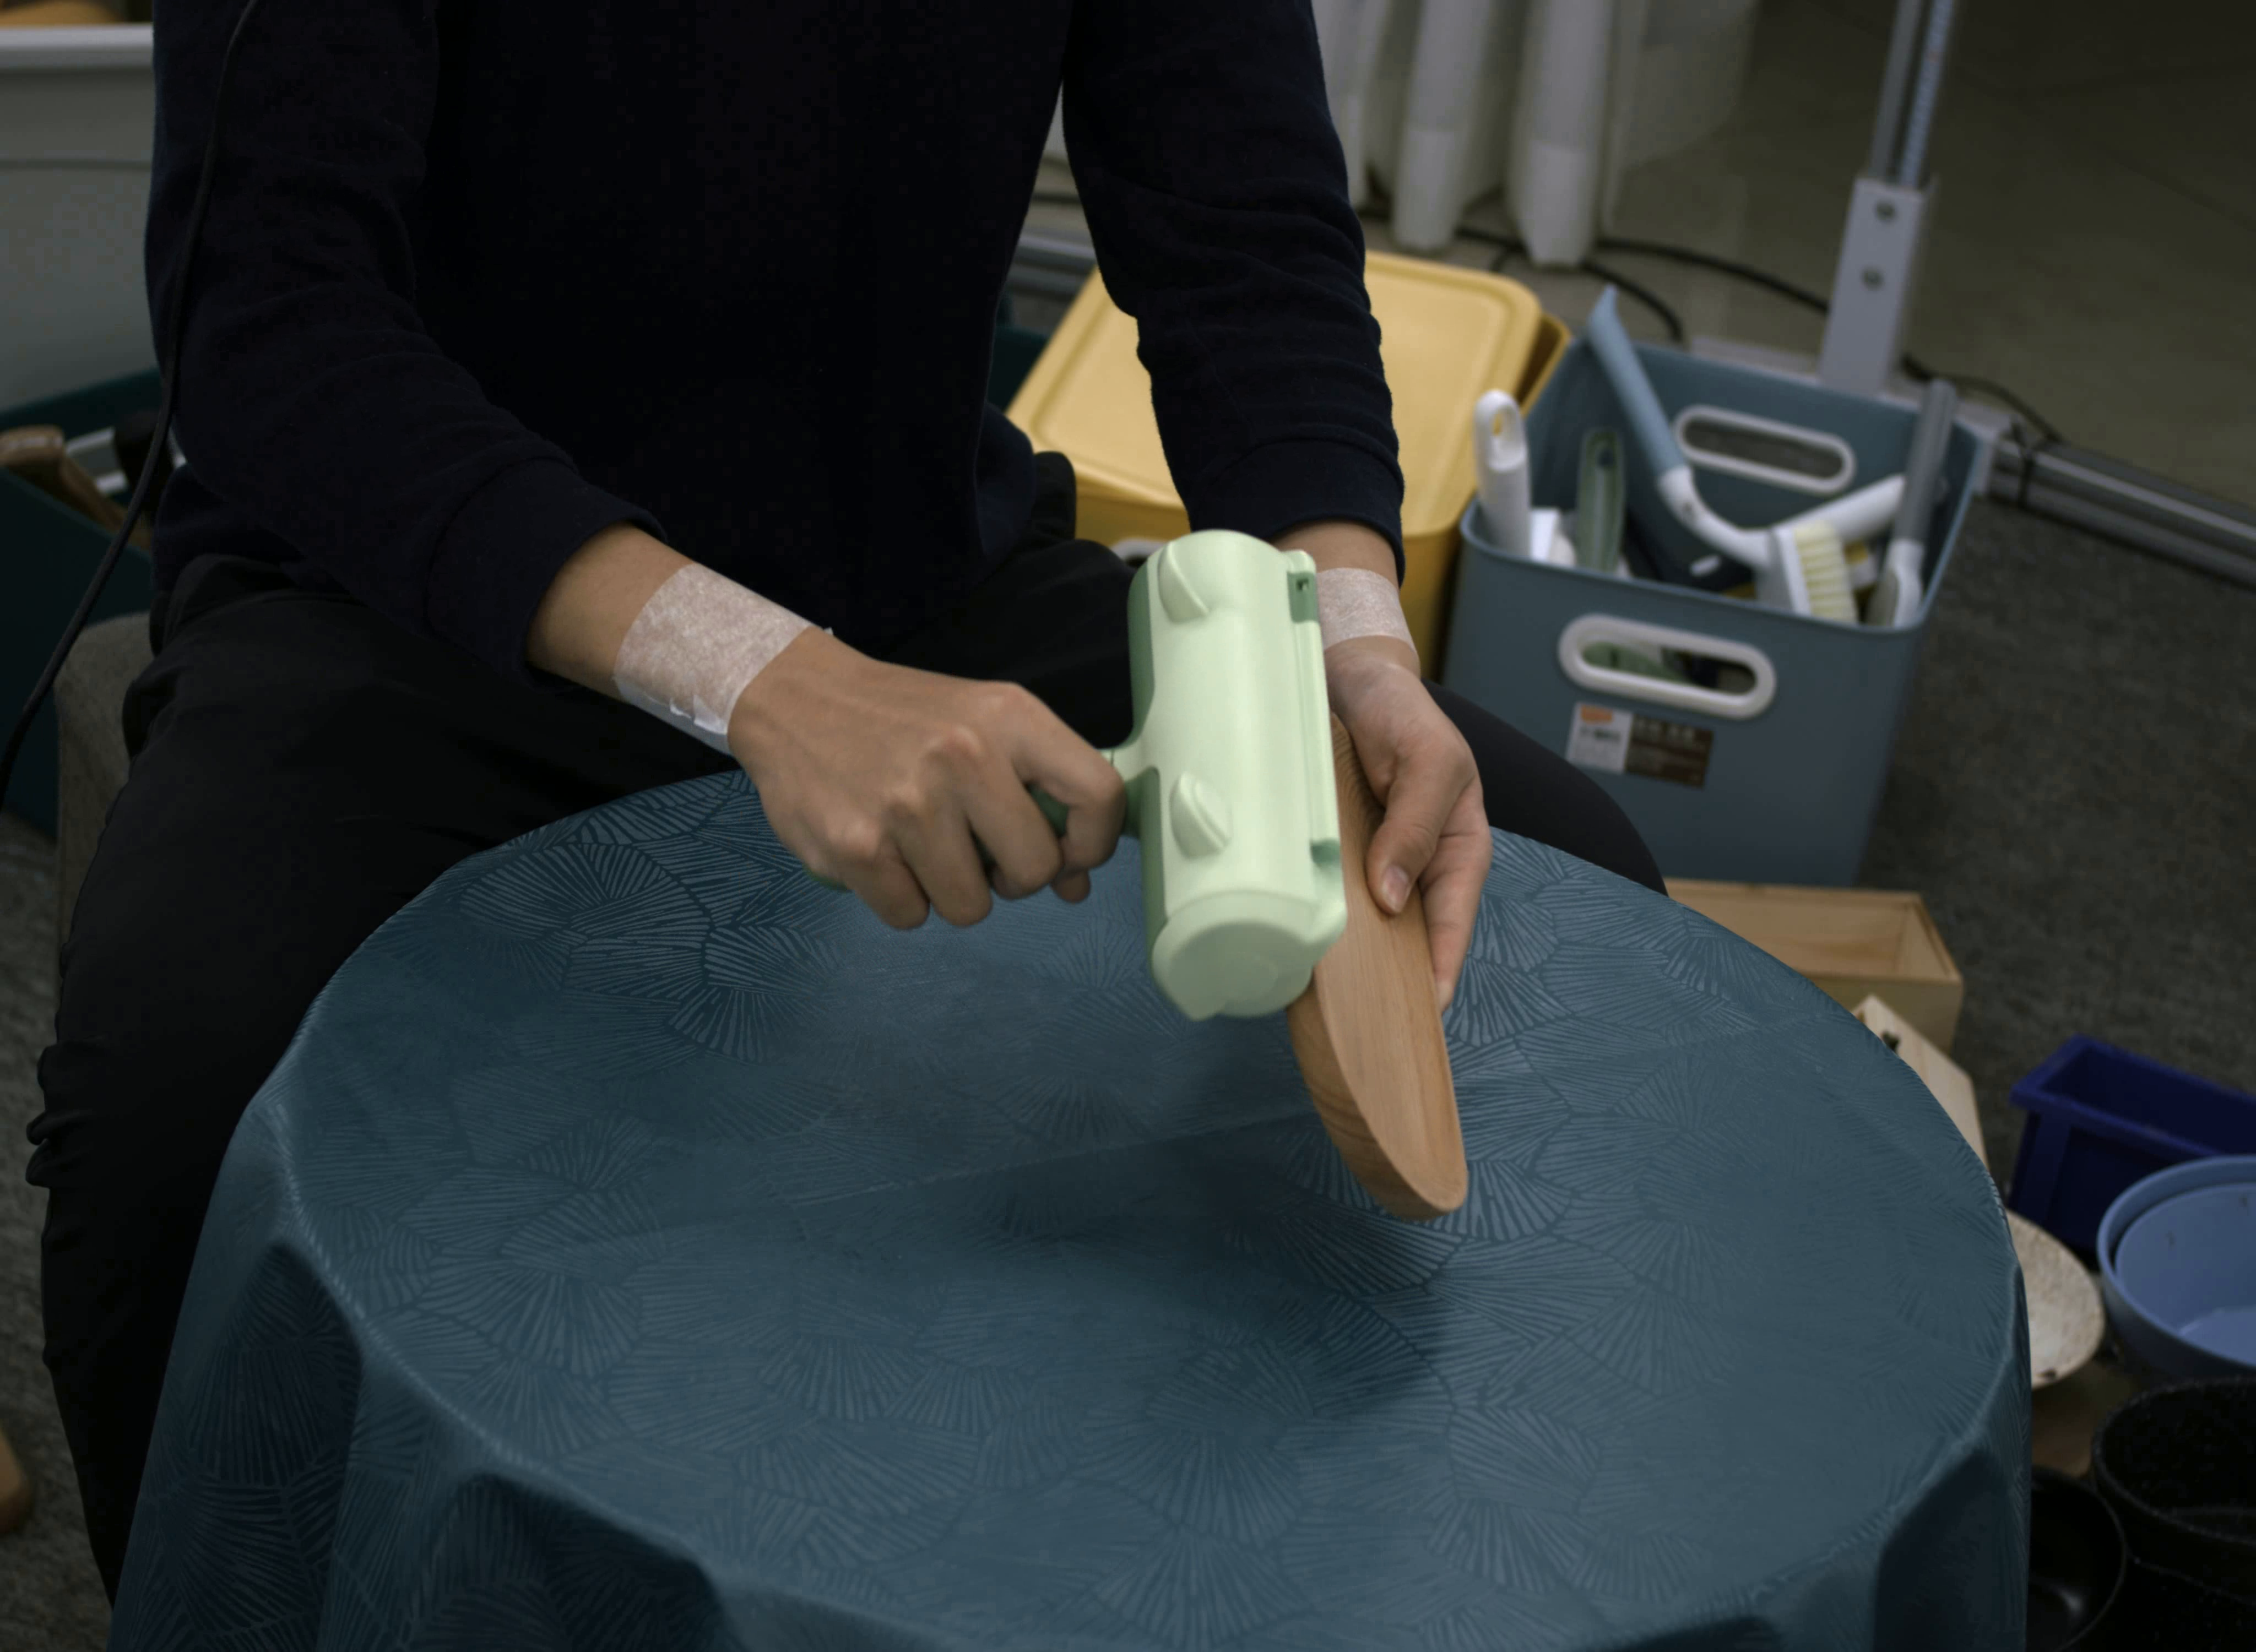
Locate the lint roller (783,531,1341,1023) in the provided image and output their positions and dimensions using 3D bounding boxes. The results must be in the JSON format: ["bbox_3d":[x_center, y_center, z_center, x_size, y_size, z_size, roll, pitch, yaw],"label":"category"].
[{"bbox_3d":[-0.026,-0.021,1.765,0.183,0.081,0.200,-3,42,1],"label":"lint roller"}]

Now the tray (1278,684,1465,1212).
[{"bbox_3d":[0.074,0.036,1.796,0.020,0.101,0.233,-27,39,17],"label":"tray"}]
